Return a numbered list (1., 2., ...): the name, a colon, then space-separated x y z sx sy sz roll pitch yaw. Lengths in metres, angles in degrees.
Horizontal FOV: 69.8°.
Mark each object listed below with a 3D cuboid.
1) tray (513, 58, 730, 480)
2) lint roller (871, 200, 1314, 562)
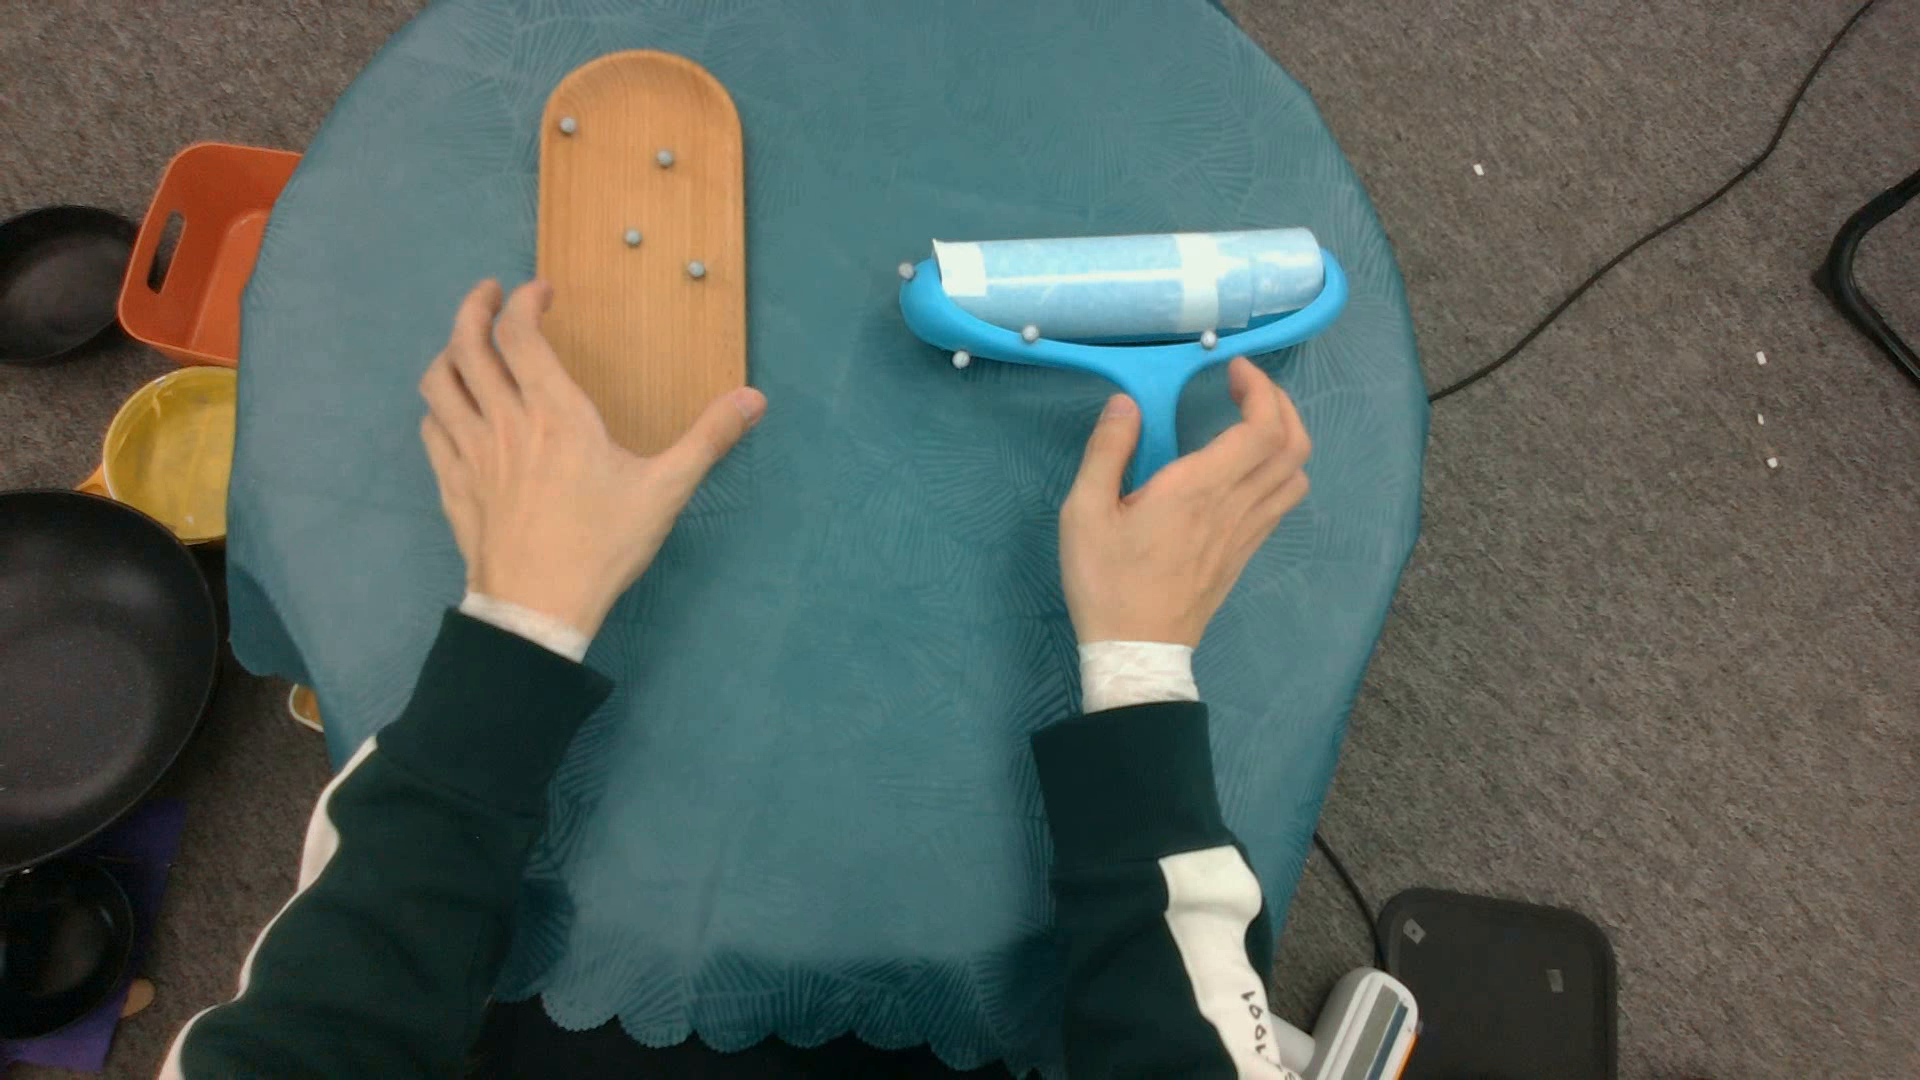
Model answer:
1. tray: -0.171 -0.140 0.695 0.102 0.020 0.231 -4 76 -7
2. lint roller: 0.080 -0.083 0.687 0.229 0.067 0.180 -8 74 -11
